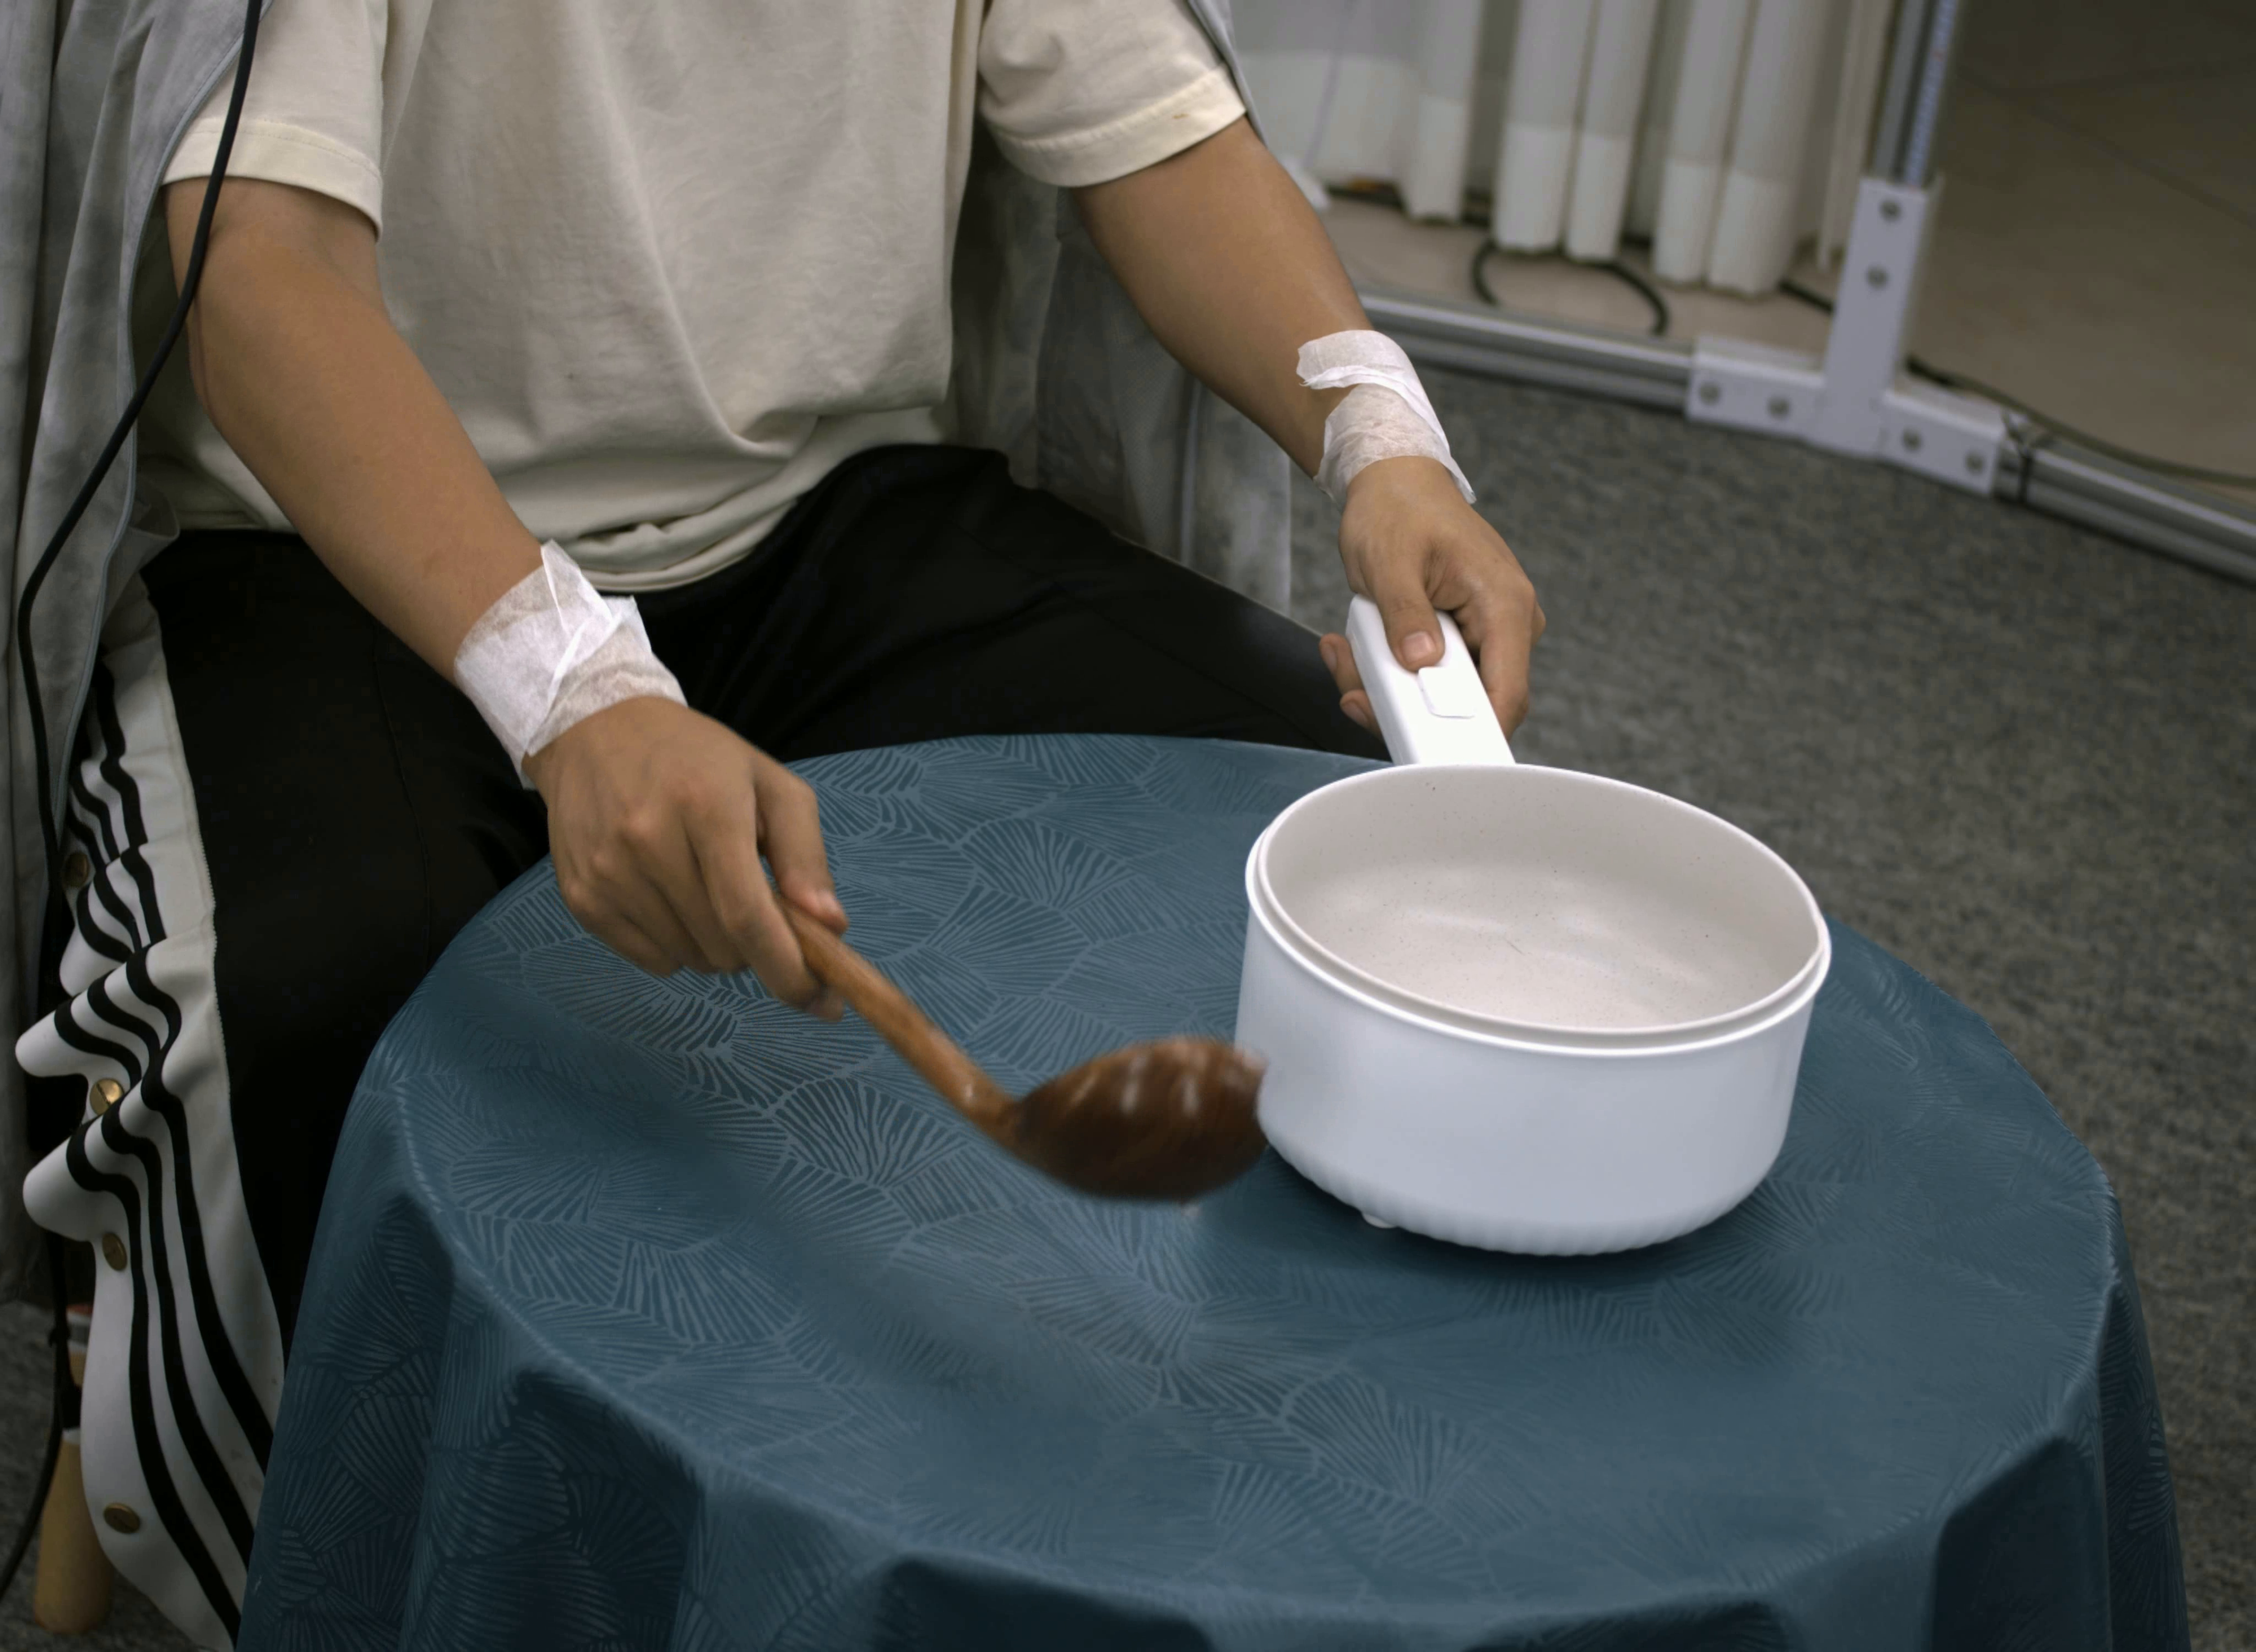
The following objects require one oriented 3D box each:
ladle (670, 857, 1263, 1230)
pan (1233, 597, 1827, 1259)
[{"bbox_3d":[-0.057,0.052,1.741,0.276,0.076,0.081,39,-4,45],"label":"ladle"},{"bbox_3d":[0.124,0.033,1.905,0.200,0.102,0.357,1,26,-9],"label":"pan"}]
